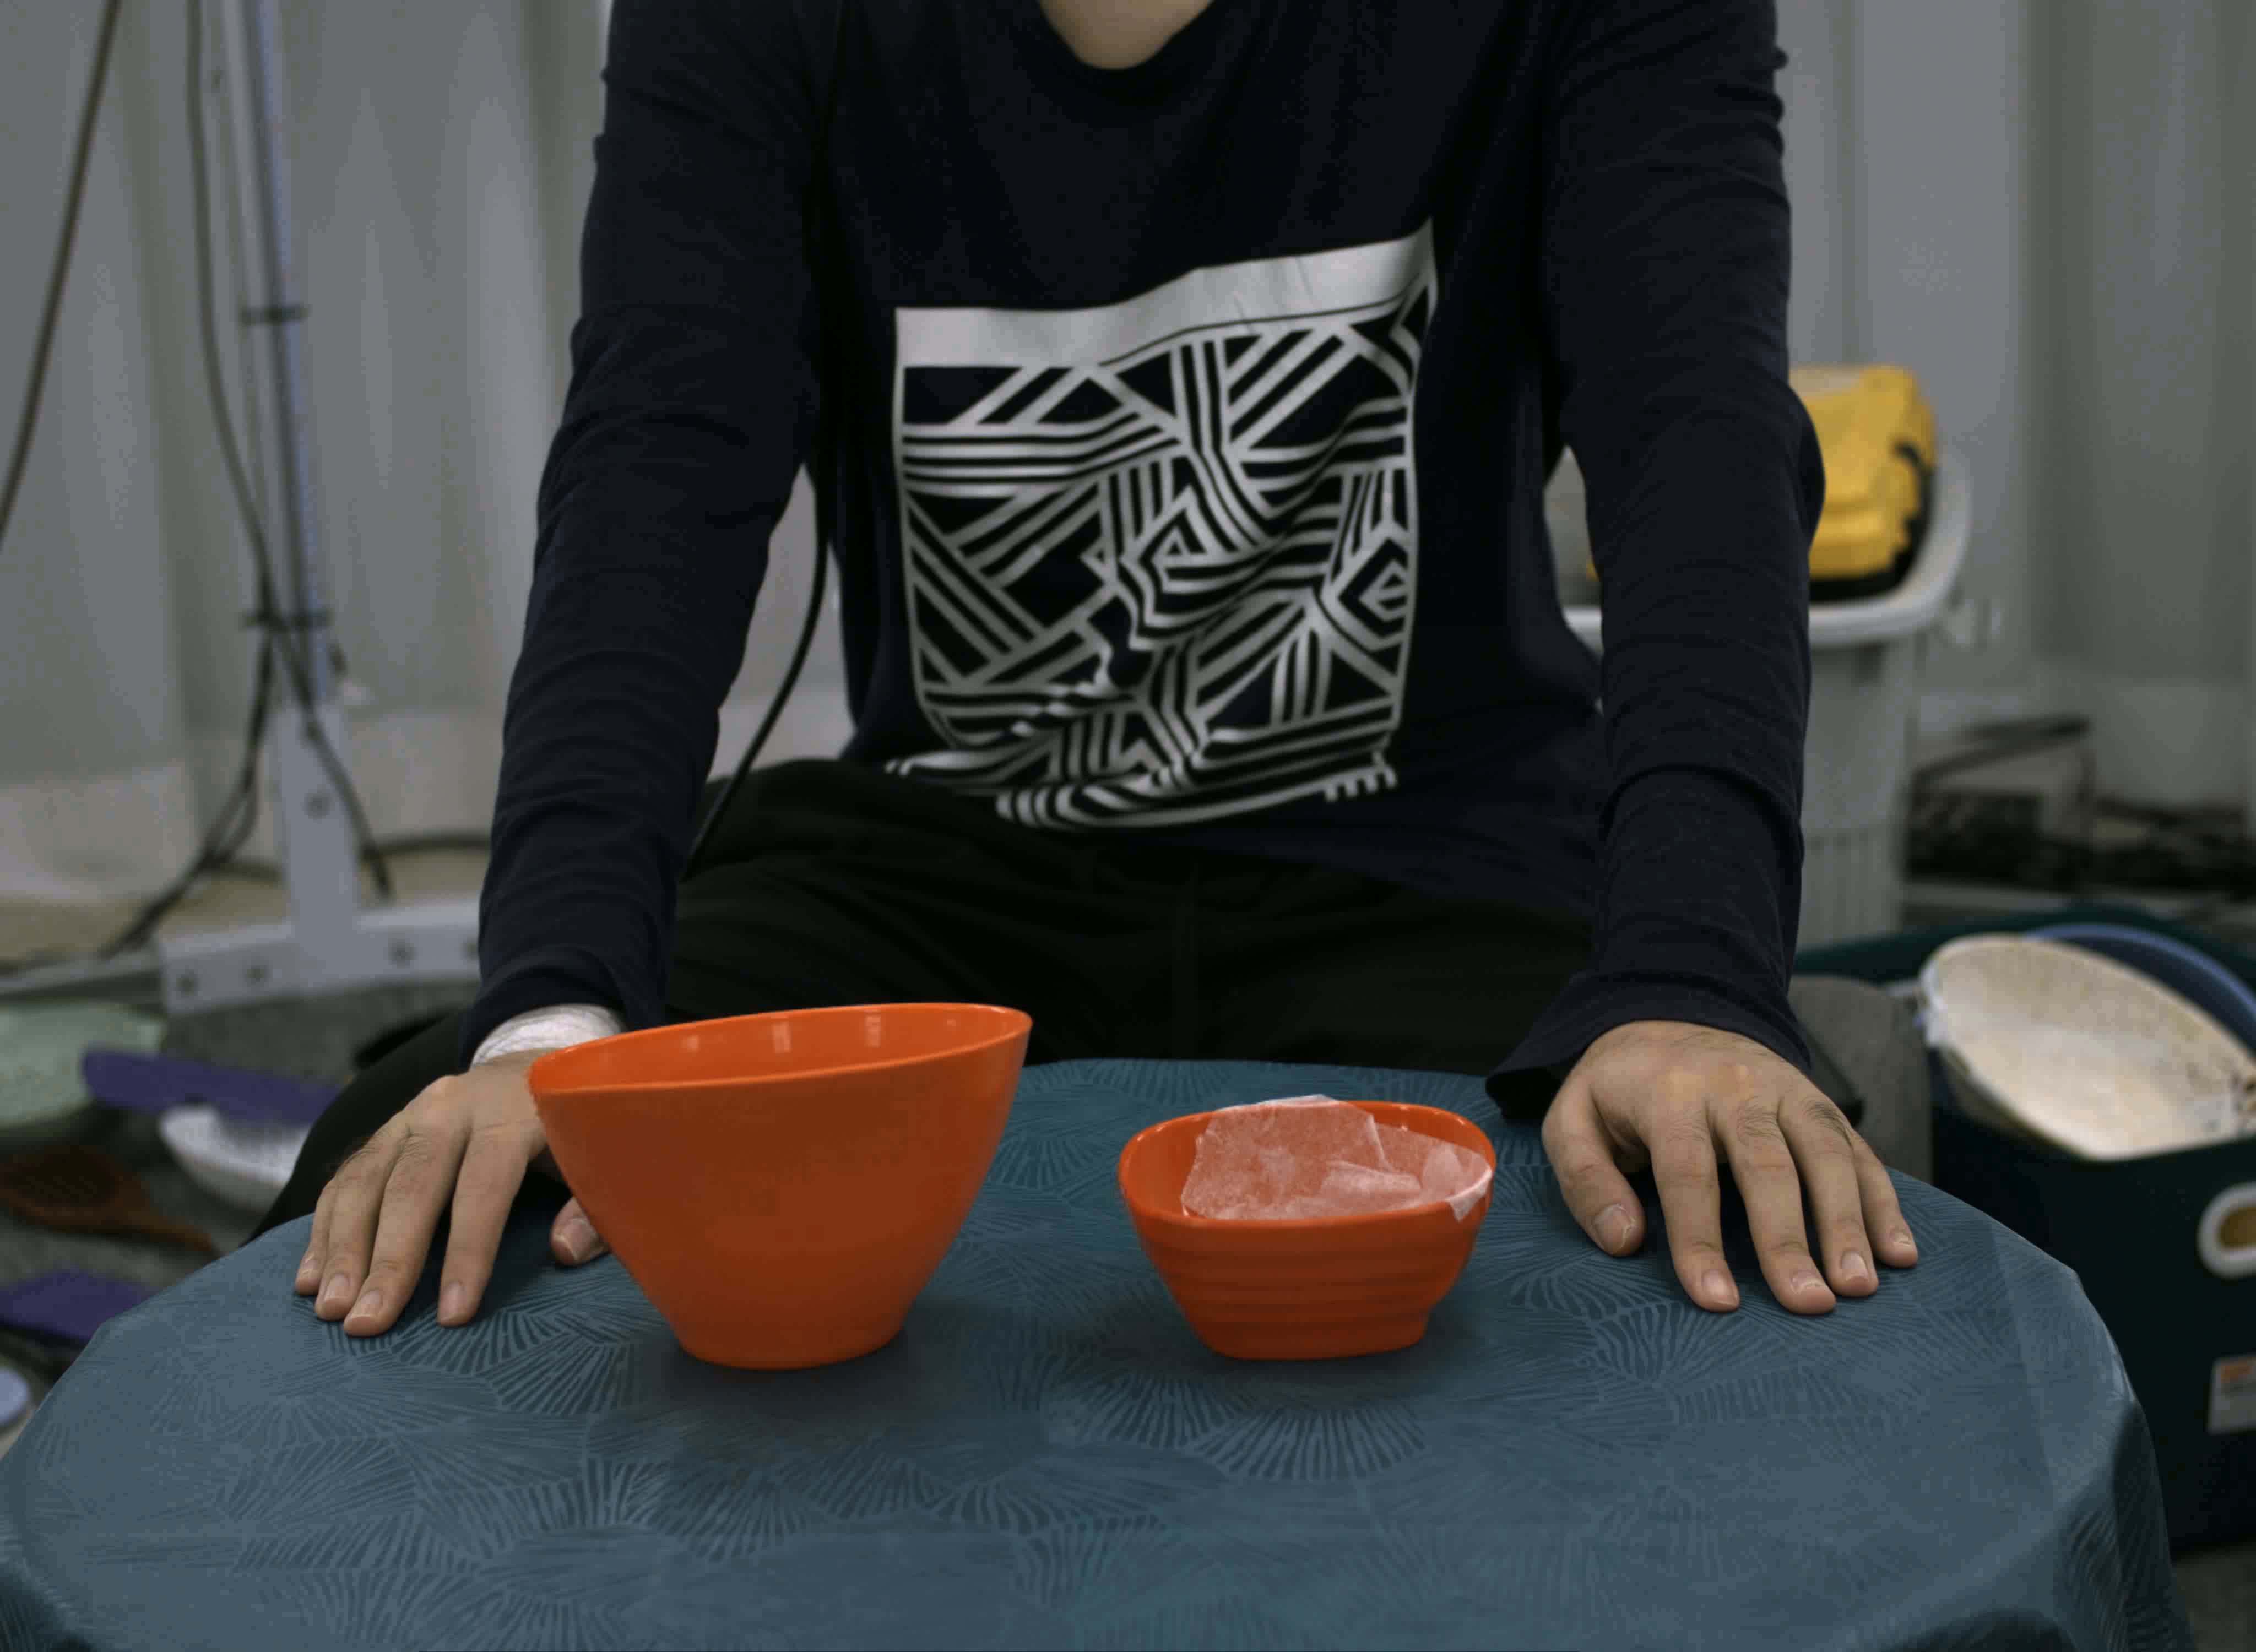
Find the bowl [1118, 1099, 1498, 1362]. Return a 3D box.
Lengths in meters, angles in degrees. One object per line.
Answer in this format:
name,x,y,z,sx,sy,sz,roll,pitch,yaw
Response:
bowl,0.053,0.120,1.589,0.118,0.051,0.120,-4,14,1

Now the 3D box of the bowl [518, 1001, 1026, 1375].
bowl,-0.100,0.103,1.585,0.147,0.104,0.149,-4,14,1
